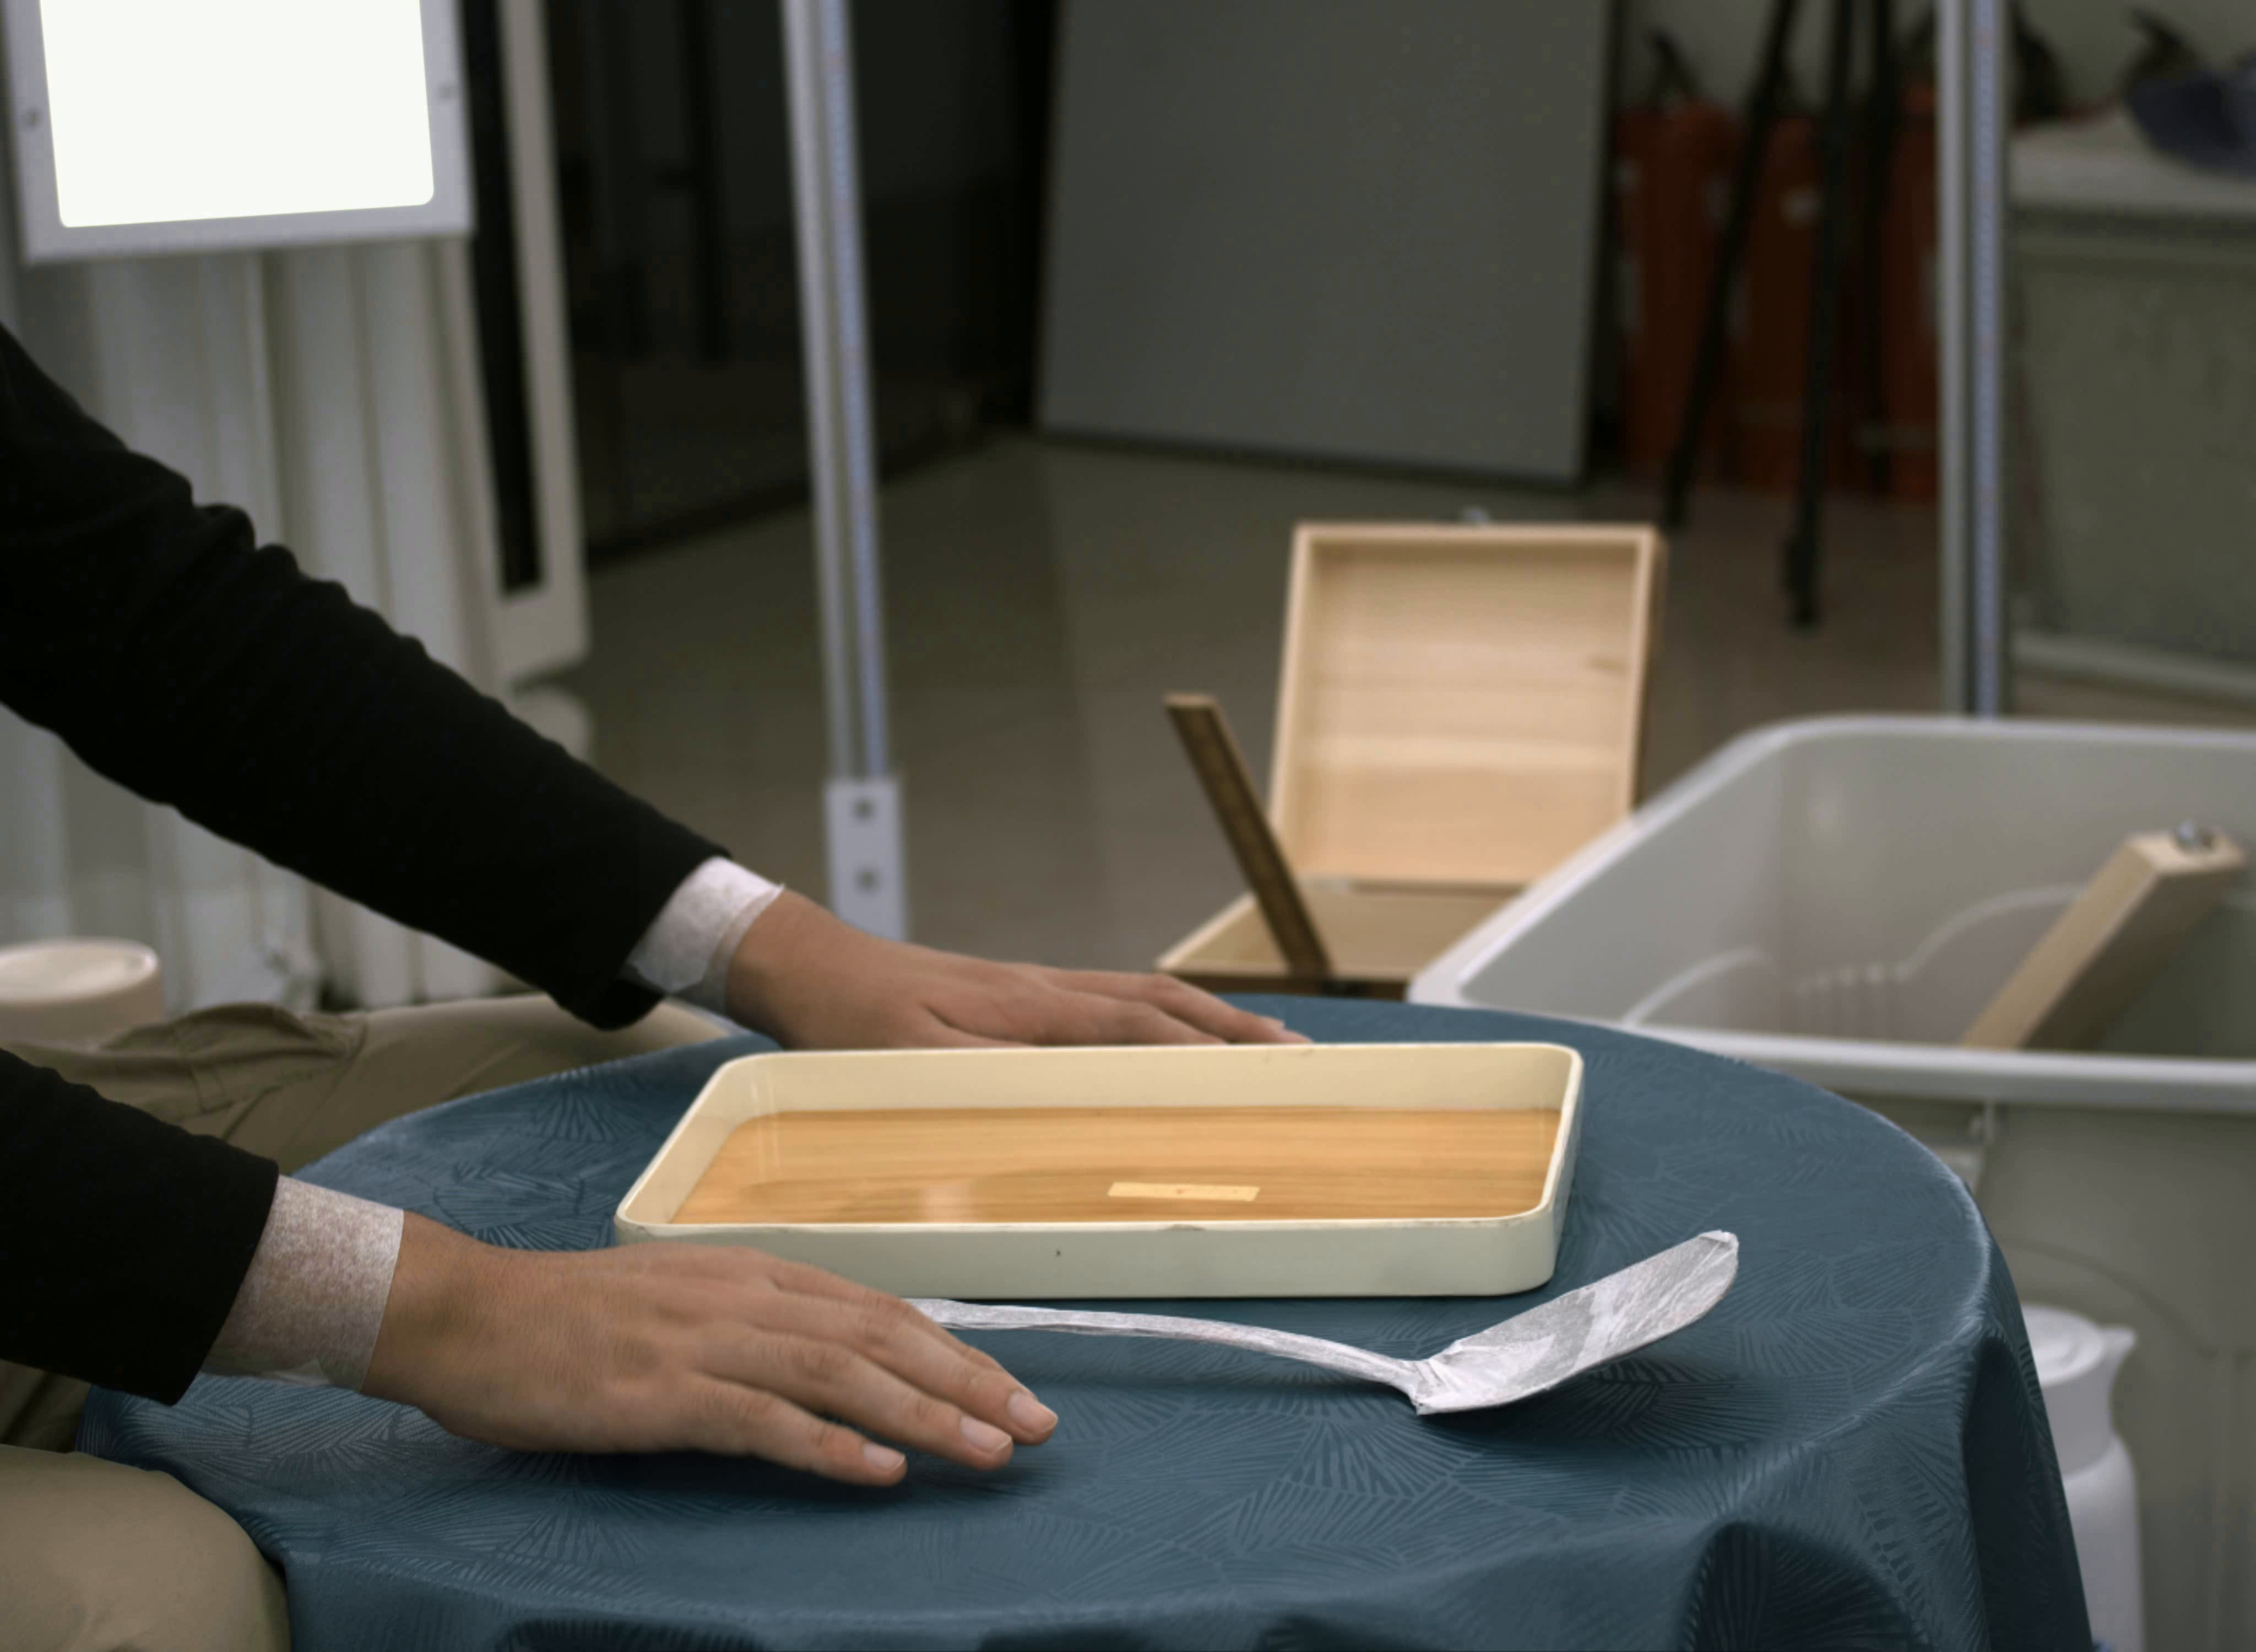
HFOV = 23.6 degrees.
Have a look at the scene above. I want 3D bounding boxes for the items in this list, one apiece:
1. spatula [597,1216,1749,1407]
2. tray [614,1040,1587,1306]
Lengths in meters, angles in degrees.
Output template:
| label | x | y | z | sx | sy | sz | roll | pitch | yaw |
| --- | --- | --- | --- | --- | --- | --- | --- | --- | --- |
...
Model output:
| label | x | y | z | sx | sy | sz | roll | pitch | yaw |
| --- | --- | --- | --- | --- | --- | --- | --- | --- | --- |
| spatula | 0.004 | 0.144 | 1.595 | 0.364 | 0.045 | 0.098 | 1 | 15 | 18 |
| tray | -0.004 | 0.112 | 1.752 | 0.298 | 0.028 | 0.191 | -2 | 14 | 11 |
